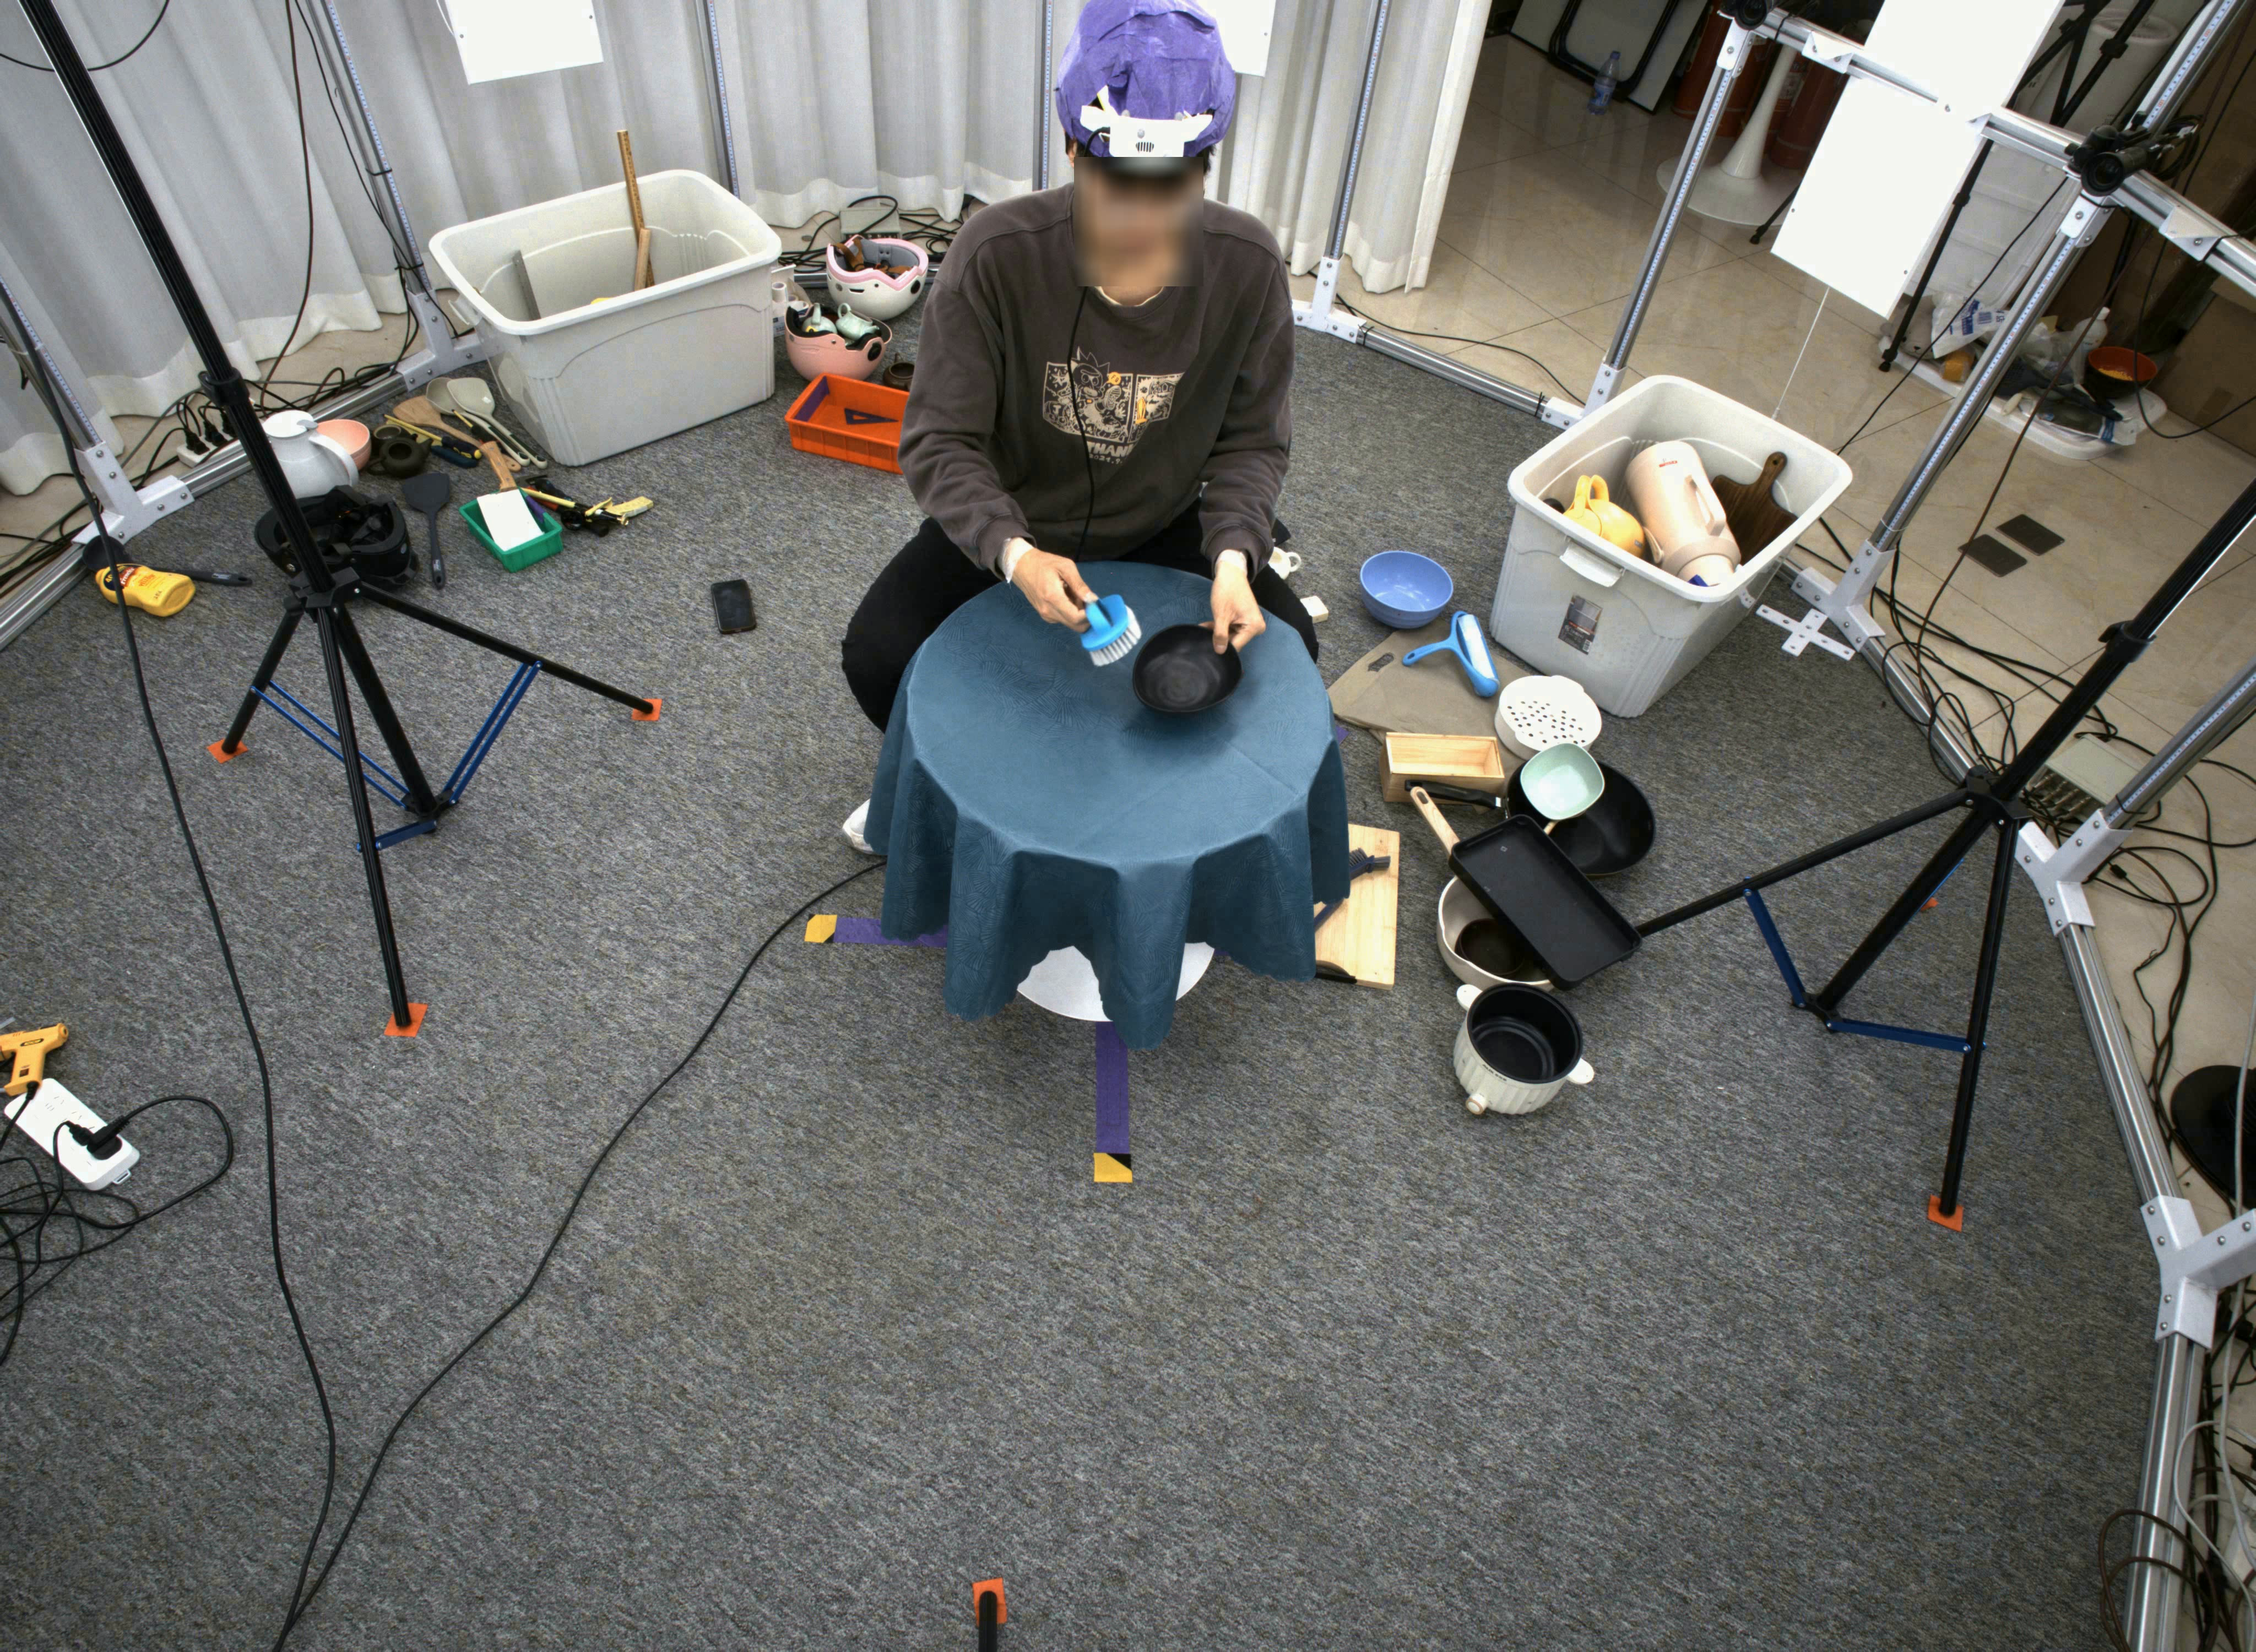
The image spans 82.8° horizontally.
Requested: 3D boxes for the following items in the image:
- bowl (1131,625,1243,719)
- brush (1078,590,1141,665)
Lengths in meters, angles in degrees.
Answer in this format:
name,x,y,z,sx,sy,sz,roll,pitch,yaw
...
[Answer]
name,x,y,z,sx,sy,sz,roll,pitch,yaw
bowl,0.079,-0.202,1.790,0.171,0.065,0.139,-35,71,-27
brush,-0.035,-0.280,1.737,0.084,0.062,0.145,-33,28,15
